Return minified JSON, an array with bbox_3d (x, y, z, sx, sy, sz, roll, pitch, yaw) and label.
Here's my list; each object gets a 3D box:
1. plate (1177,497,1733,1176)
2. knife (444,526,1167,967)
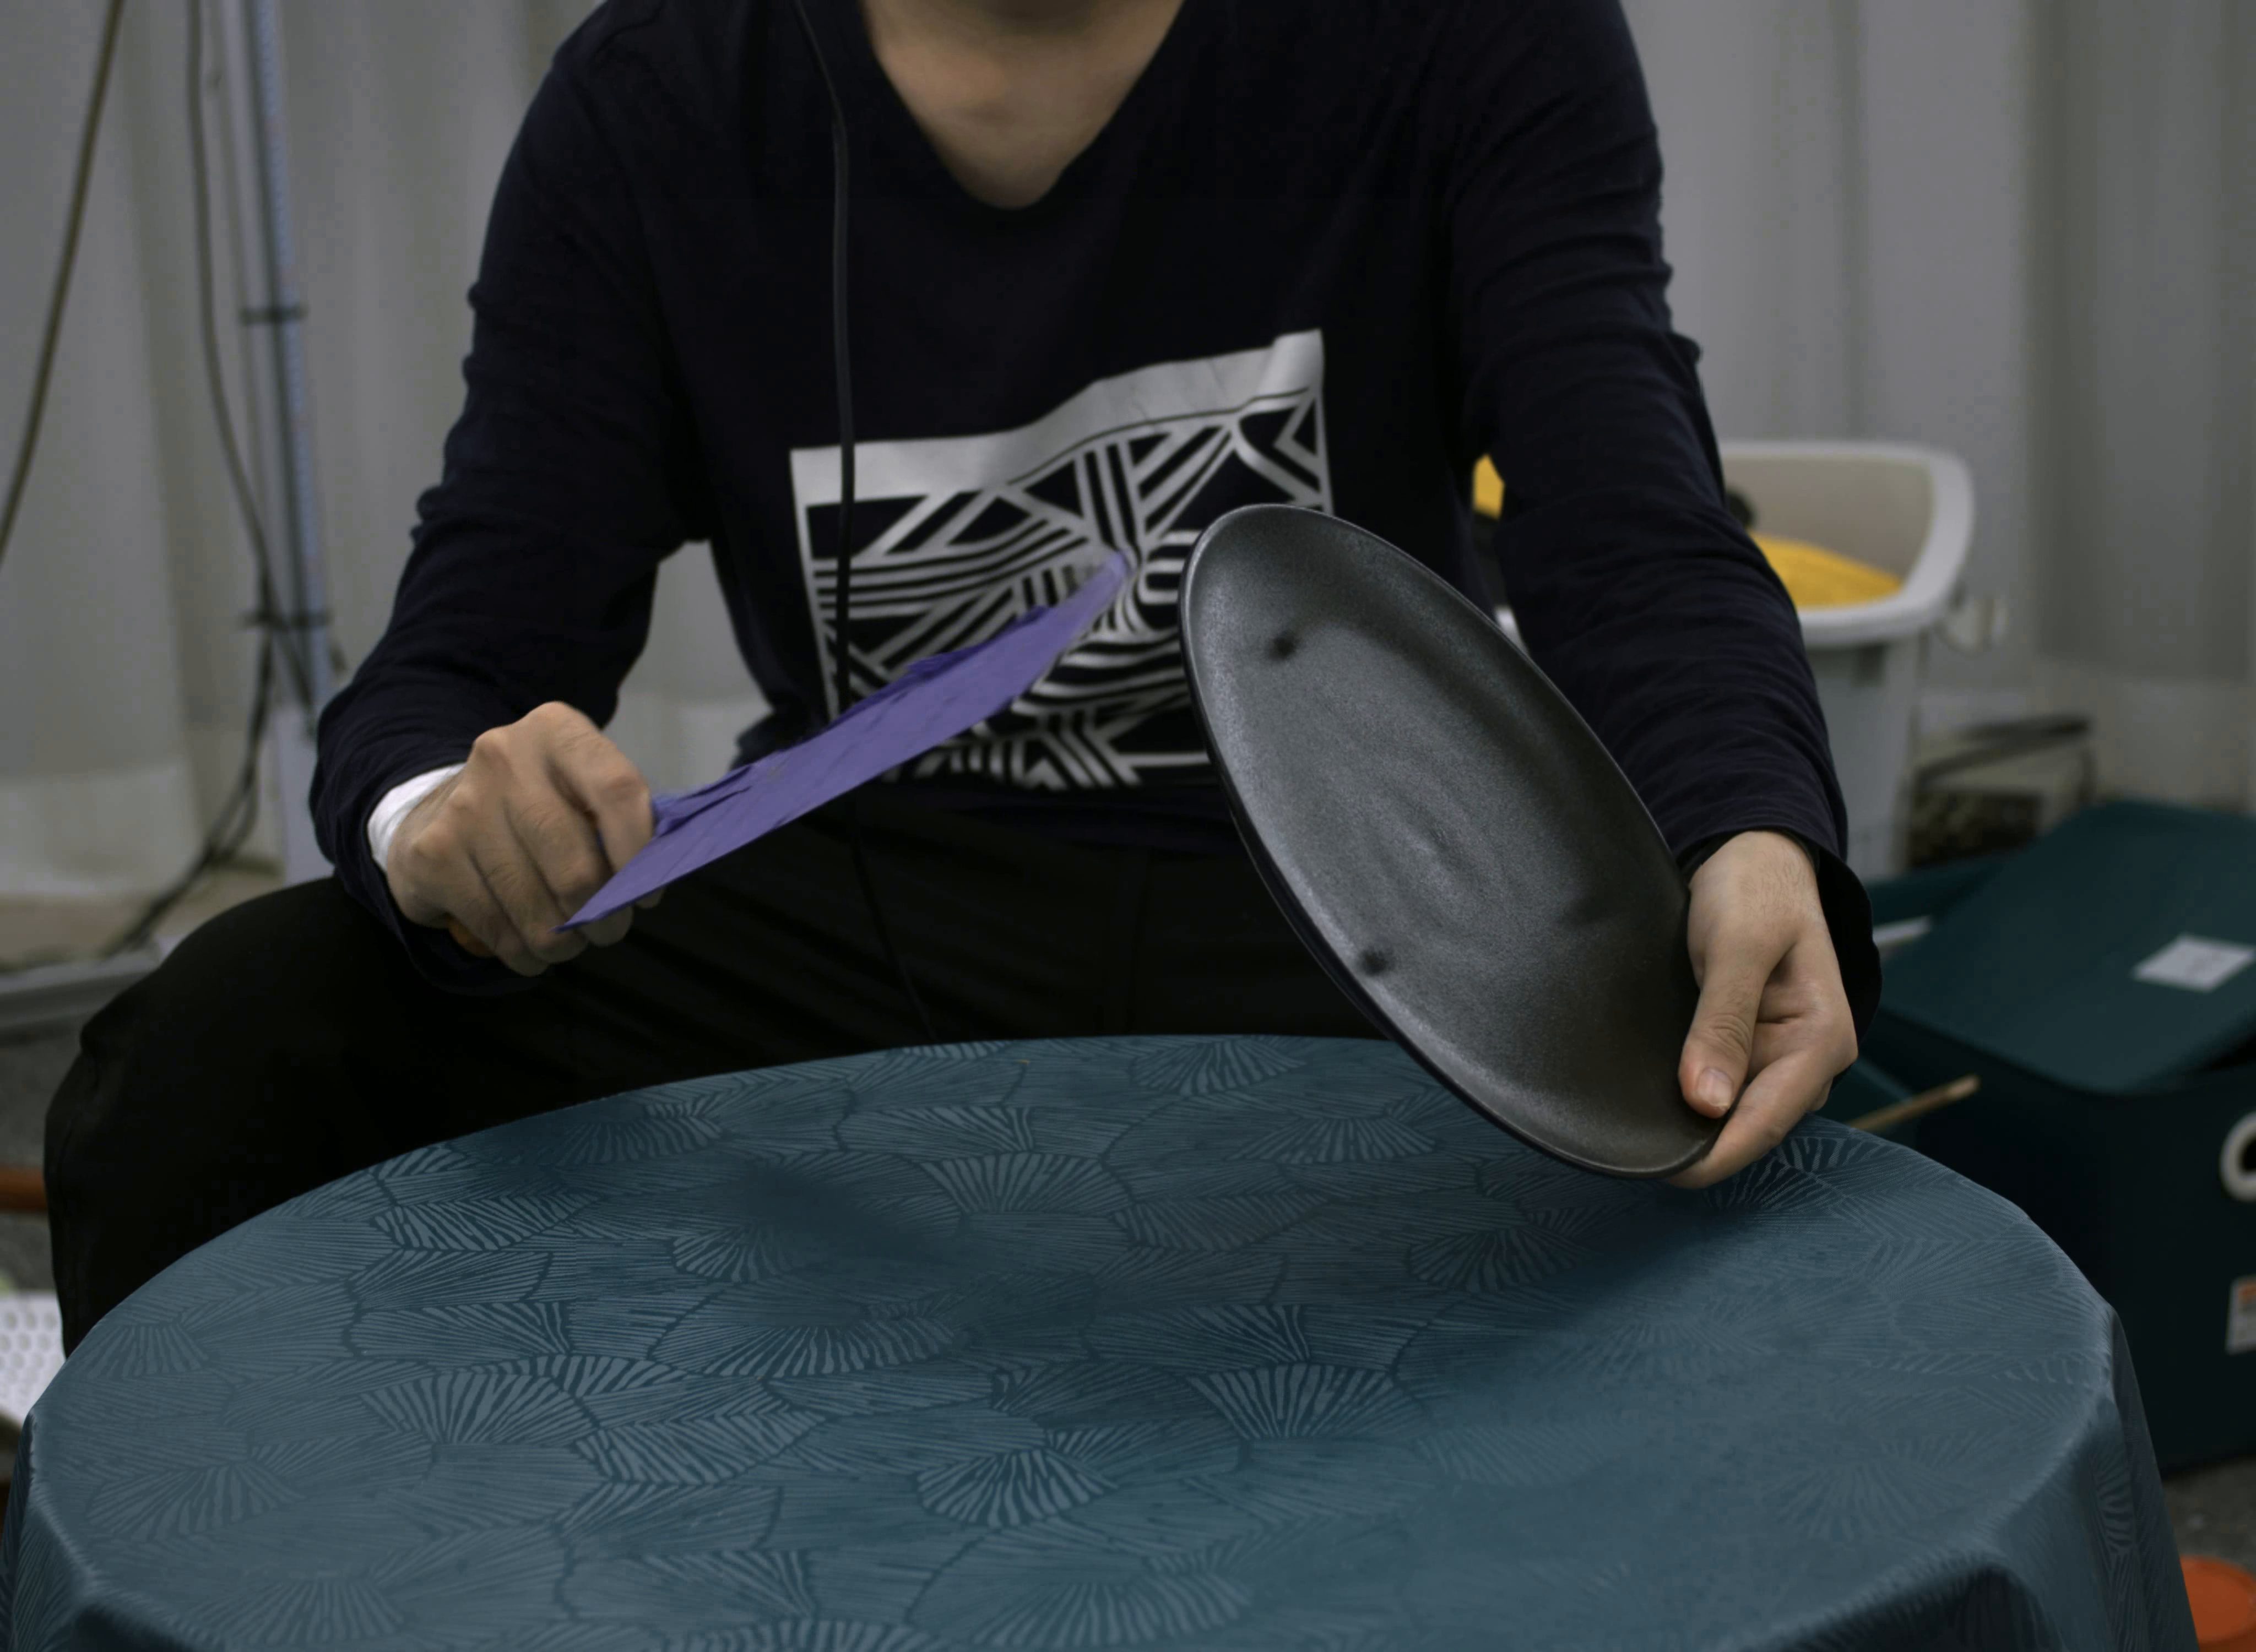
[{"bbox_3d":[0.096,0.006,1.661,0.023,0.245,0.245,-38,-3,27],"label":"plate"},{"bbox_3d":[-0.119,-0.011,1.684,0.314,0.032,0.104,-29,11,38],"label":"knife"}]
